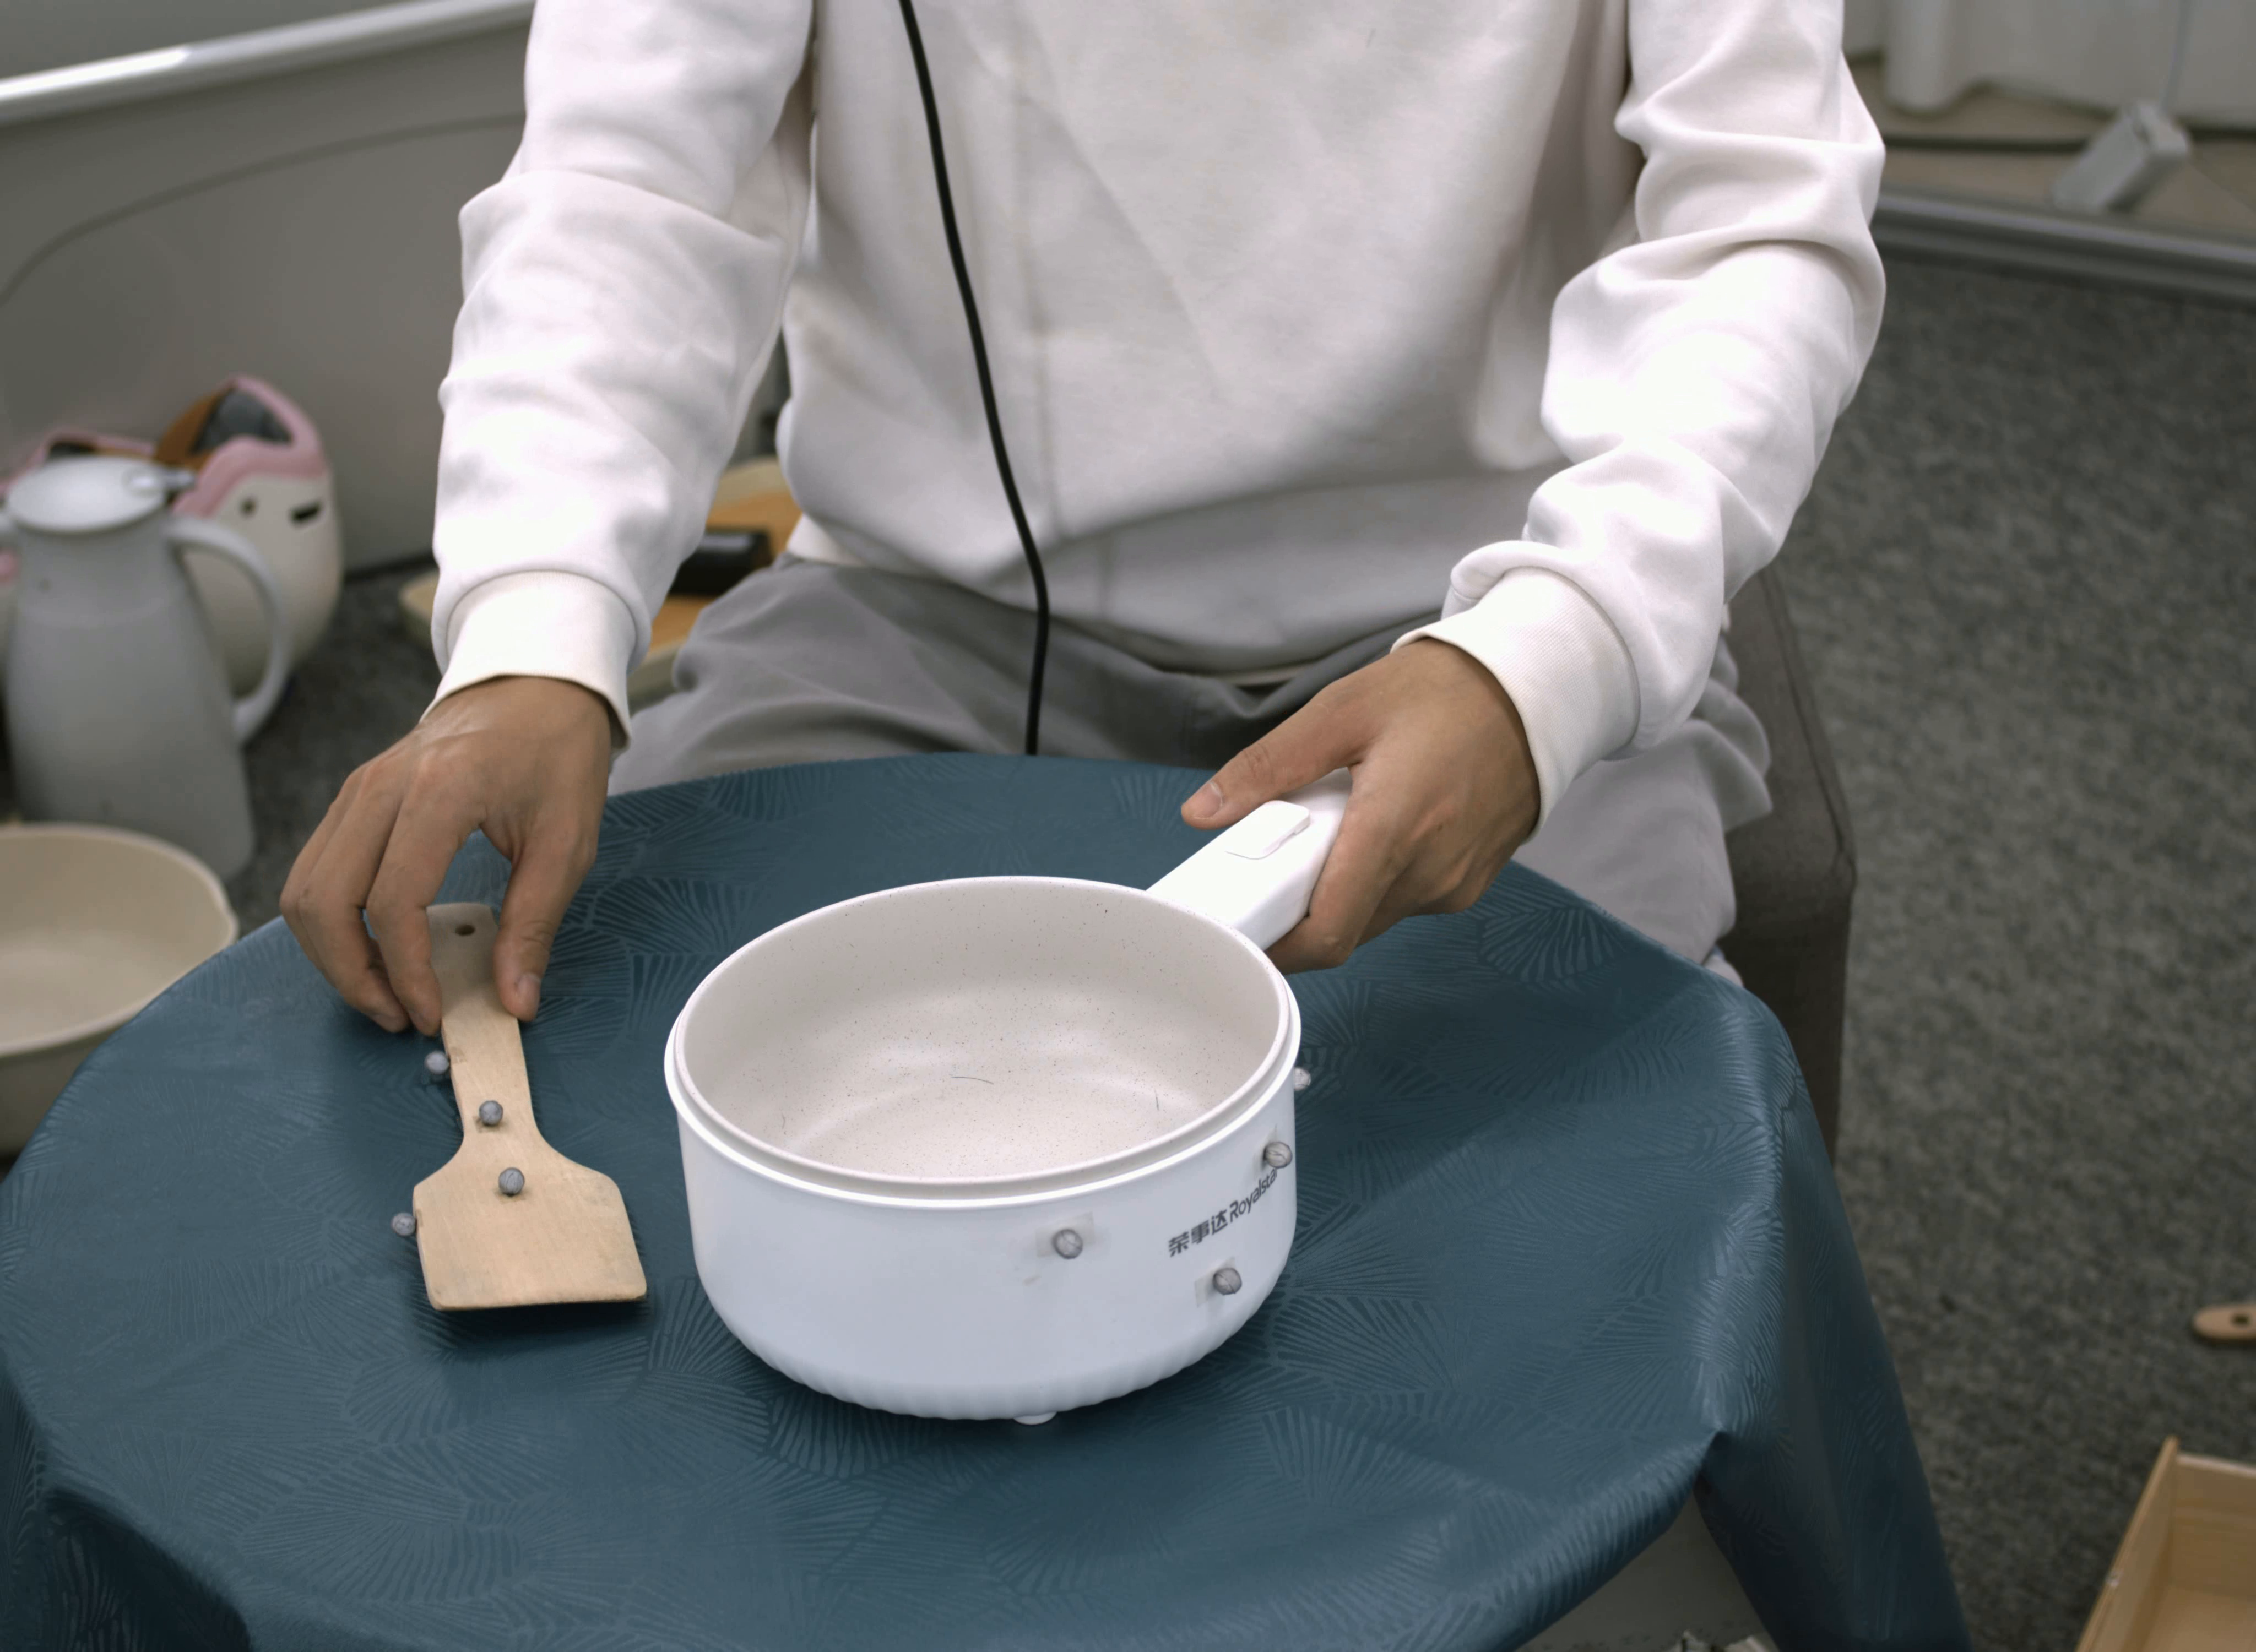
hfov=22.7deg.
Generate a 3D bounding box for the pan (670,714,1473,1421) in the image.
[{"bbox_3d":[0.001,0.074,1.846,0.200,0.101,0.360,16,32,31],"label":"pan"}]

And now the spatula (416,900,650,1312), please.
[{"bbox_3d":[-0.217,0.093,1.927,0.072,0.010,0.296,-4,26,-11],"label":"spatula"}]
